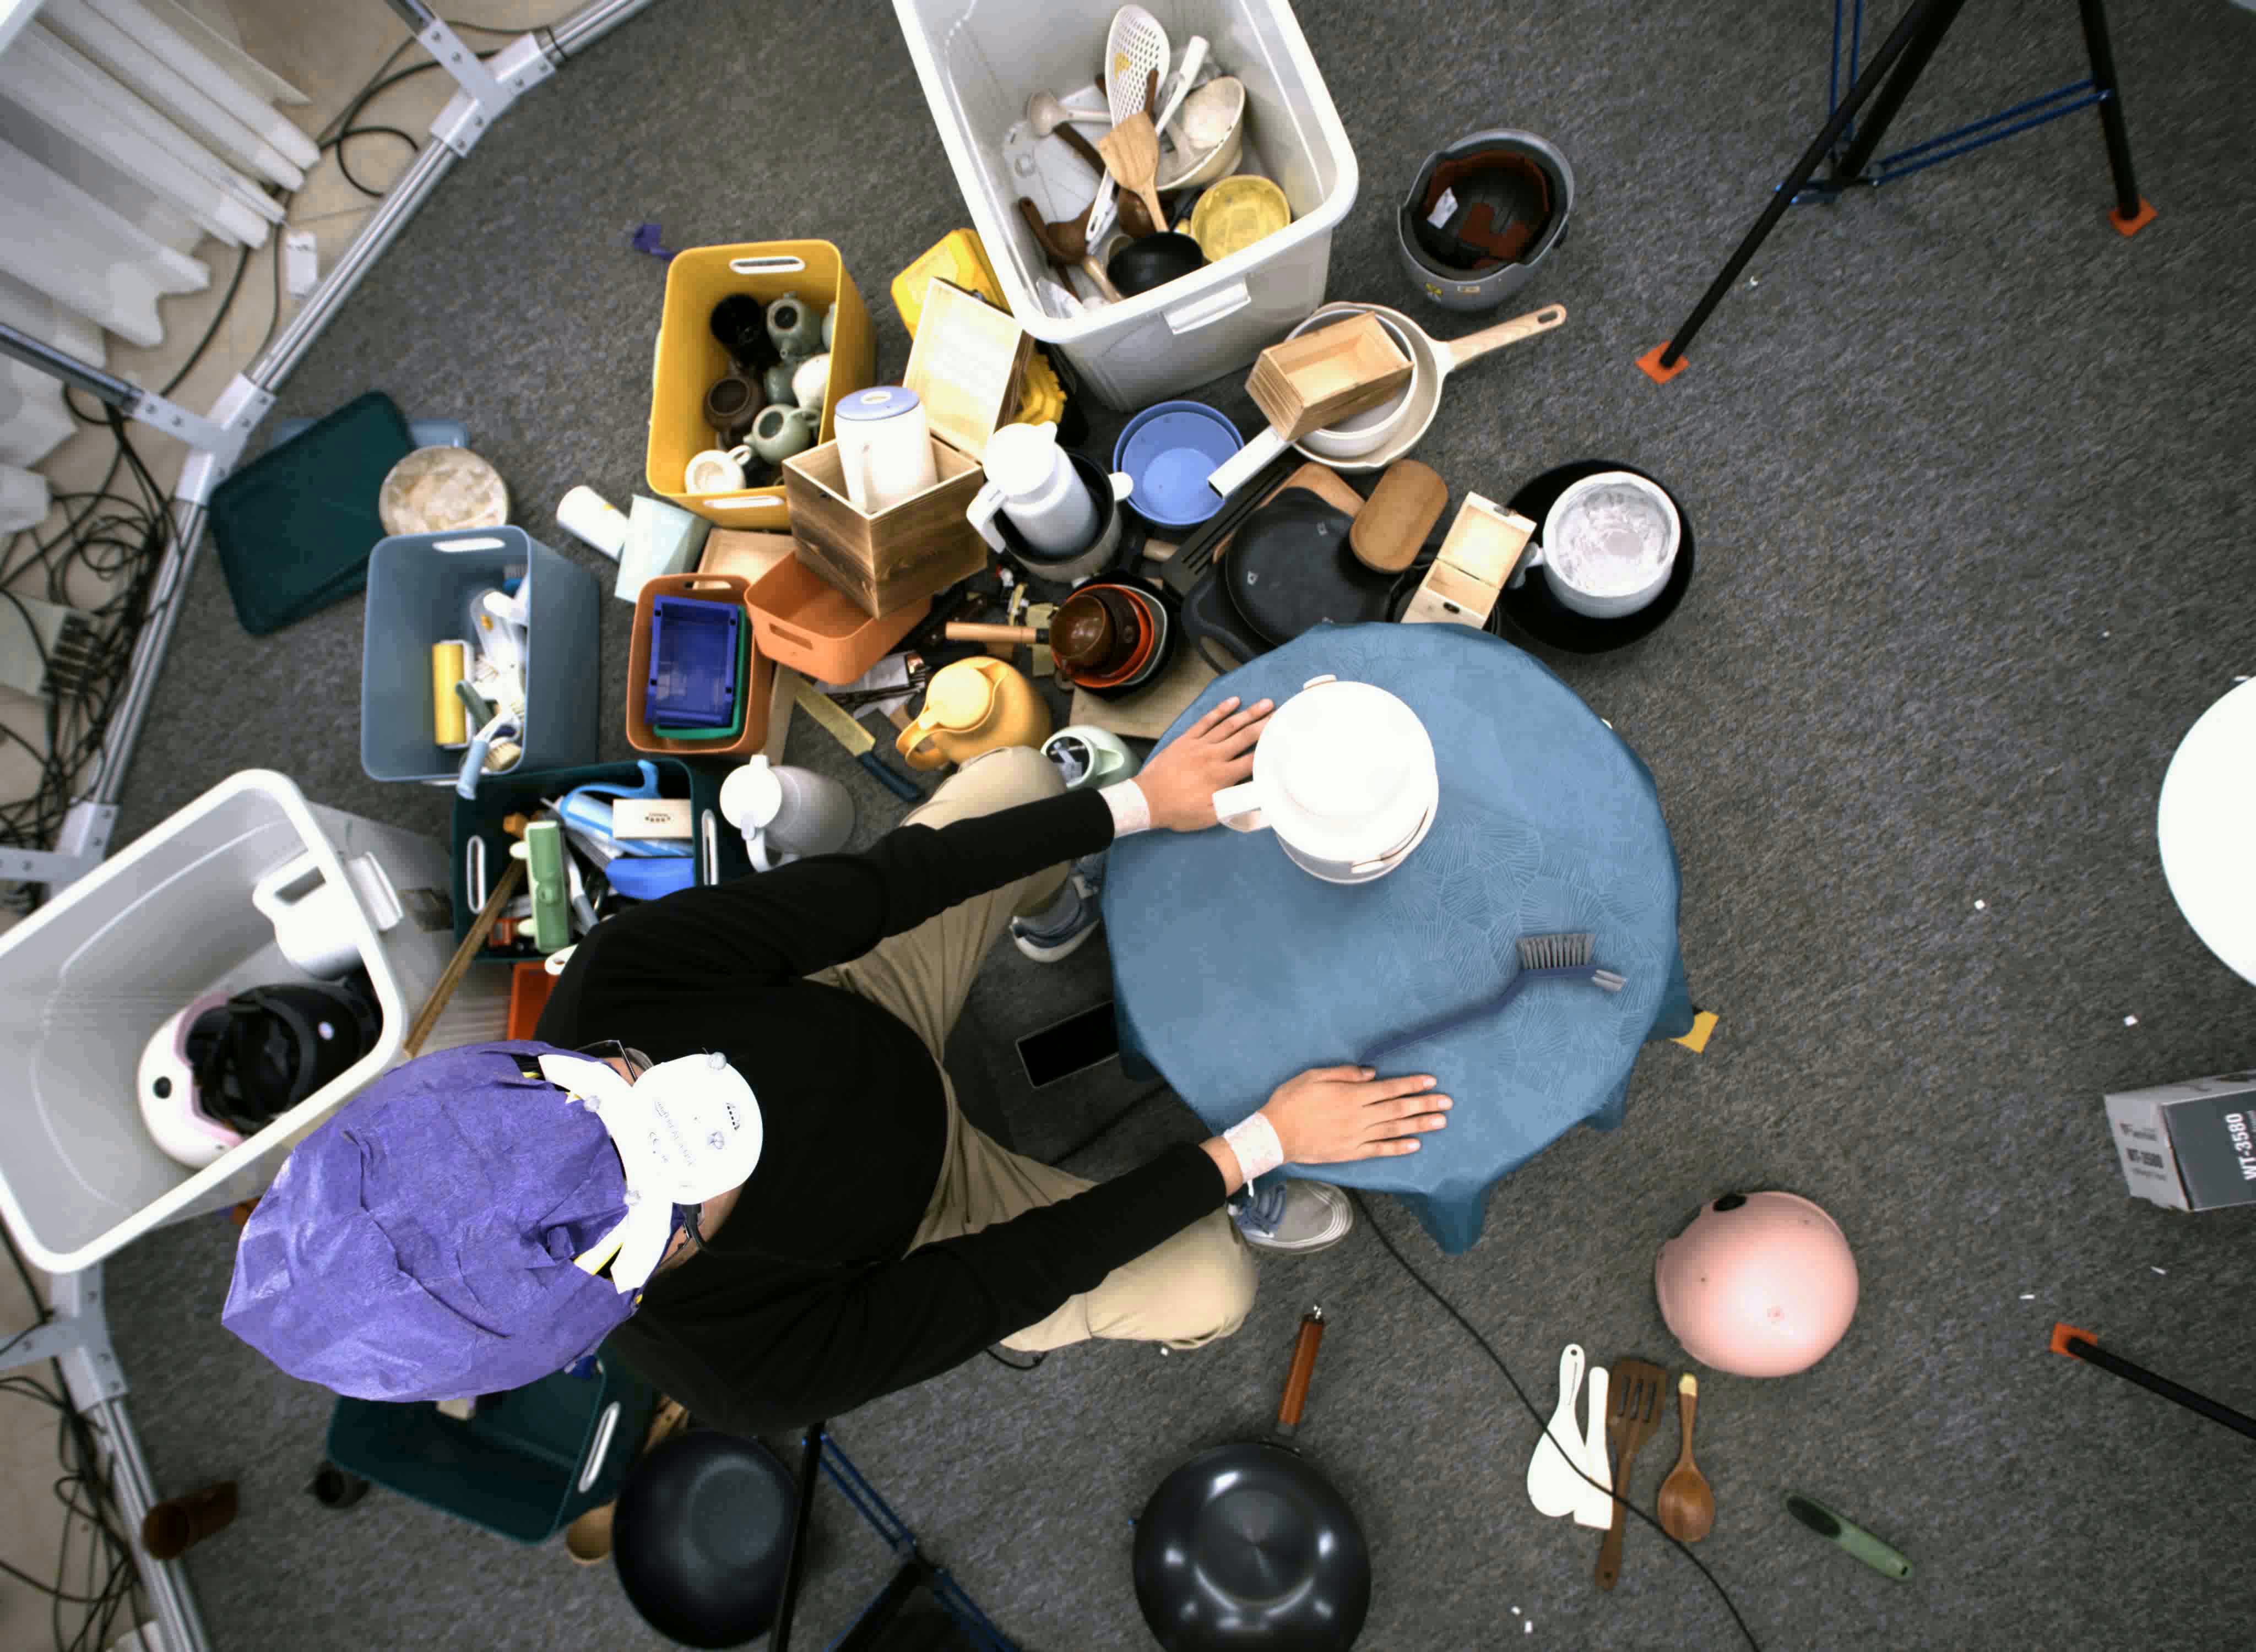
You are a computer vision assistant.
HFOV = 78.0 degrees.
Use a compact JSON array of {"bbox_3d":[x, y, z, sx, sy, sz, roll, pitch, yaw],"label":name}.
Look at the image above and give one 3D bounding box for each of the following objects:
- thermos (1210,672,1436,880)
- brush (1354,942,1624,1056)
[{"bbox_3d":[0.185,-0.039,1.281,0.208,0.406,0.174,-15,84,8],"label":"thermos"},{"bbox_3d":[0.367,0.195,1.418,0.274,0.033,0.095,-29,80,6],"label":"brush"}]
